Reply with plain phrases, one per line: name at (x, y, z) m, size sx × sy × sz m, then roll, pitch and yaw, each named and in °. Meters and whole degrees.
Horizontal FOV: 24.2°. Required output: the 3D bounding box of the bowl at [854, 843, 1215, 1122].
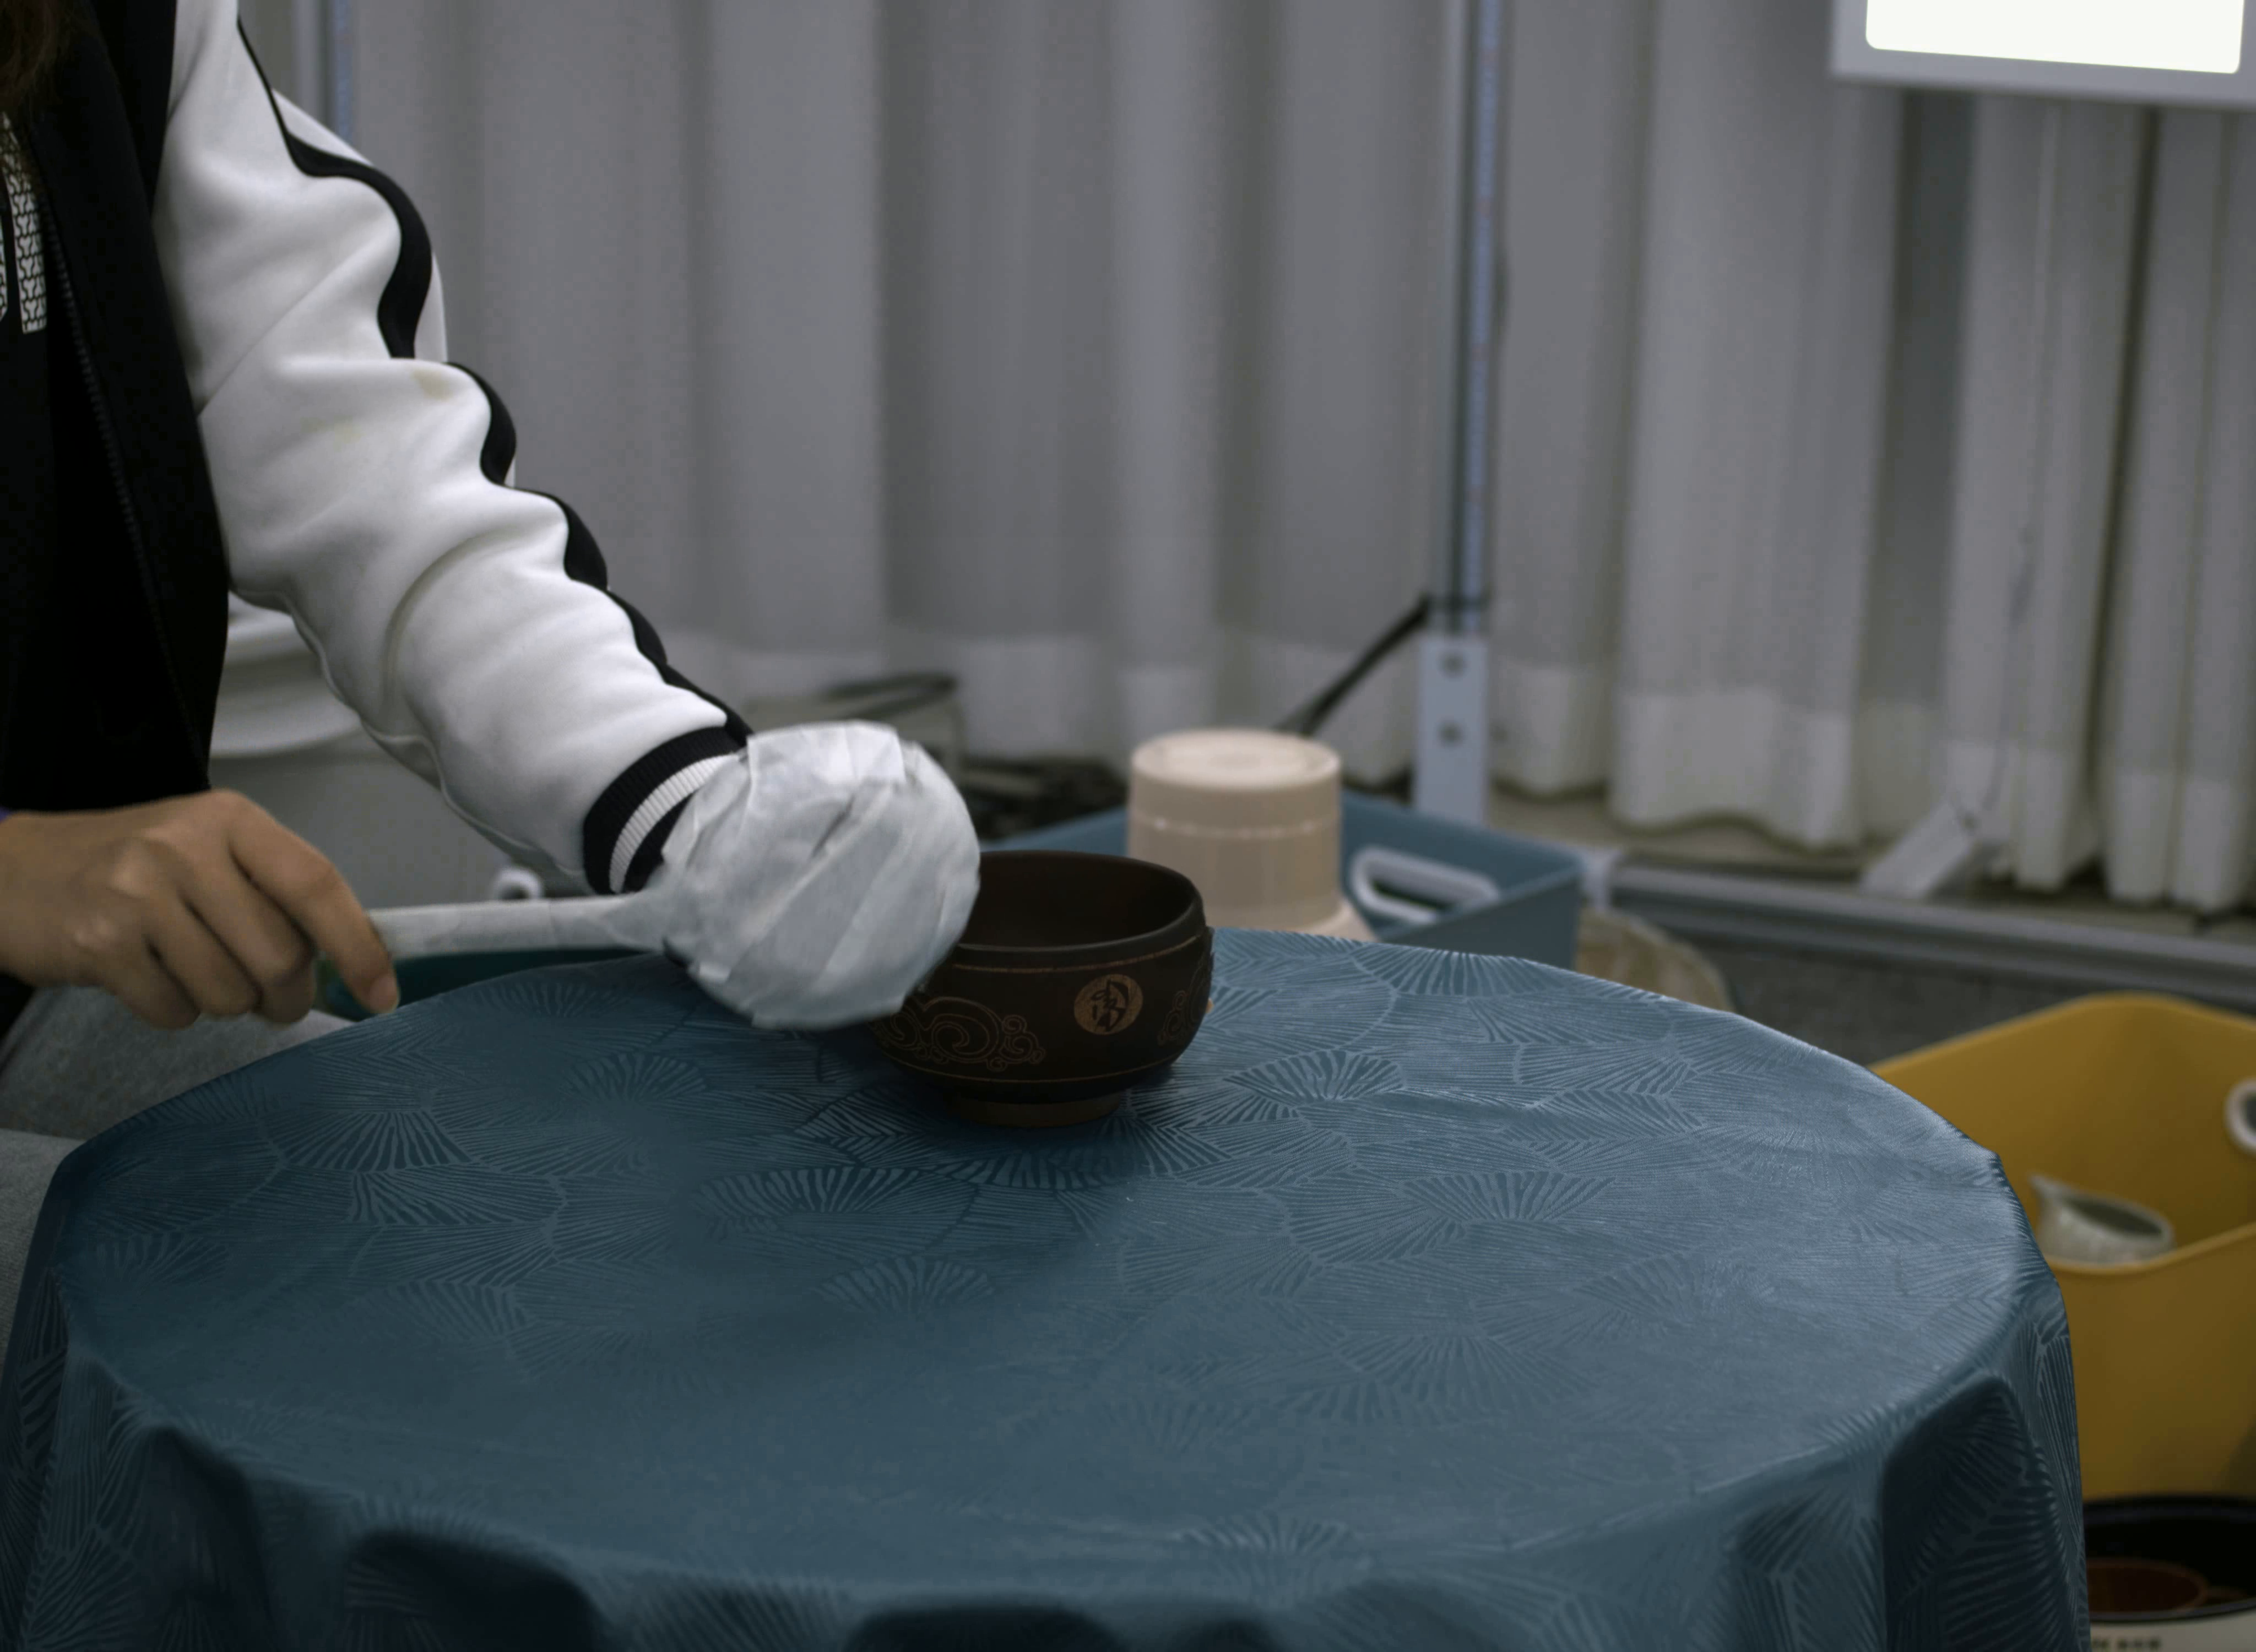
bowl at (-0.031, 0.054, 1.694) m, size 0.117 × 0.070 × 0.117 m, roll 1°, pitch 15°, yaw 0°

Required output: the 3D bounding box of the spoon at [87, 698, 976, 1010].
spoon at (-0.179, 0.021, 1.559) m, size 0.275 × 0.102 × 0.059 m, roll -6°, pitch 23°, yaw 23°
